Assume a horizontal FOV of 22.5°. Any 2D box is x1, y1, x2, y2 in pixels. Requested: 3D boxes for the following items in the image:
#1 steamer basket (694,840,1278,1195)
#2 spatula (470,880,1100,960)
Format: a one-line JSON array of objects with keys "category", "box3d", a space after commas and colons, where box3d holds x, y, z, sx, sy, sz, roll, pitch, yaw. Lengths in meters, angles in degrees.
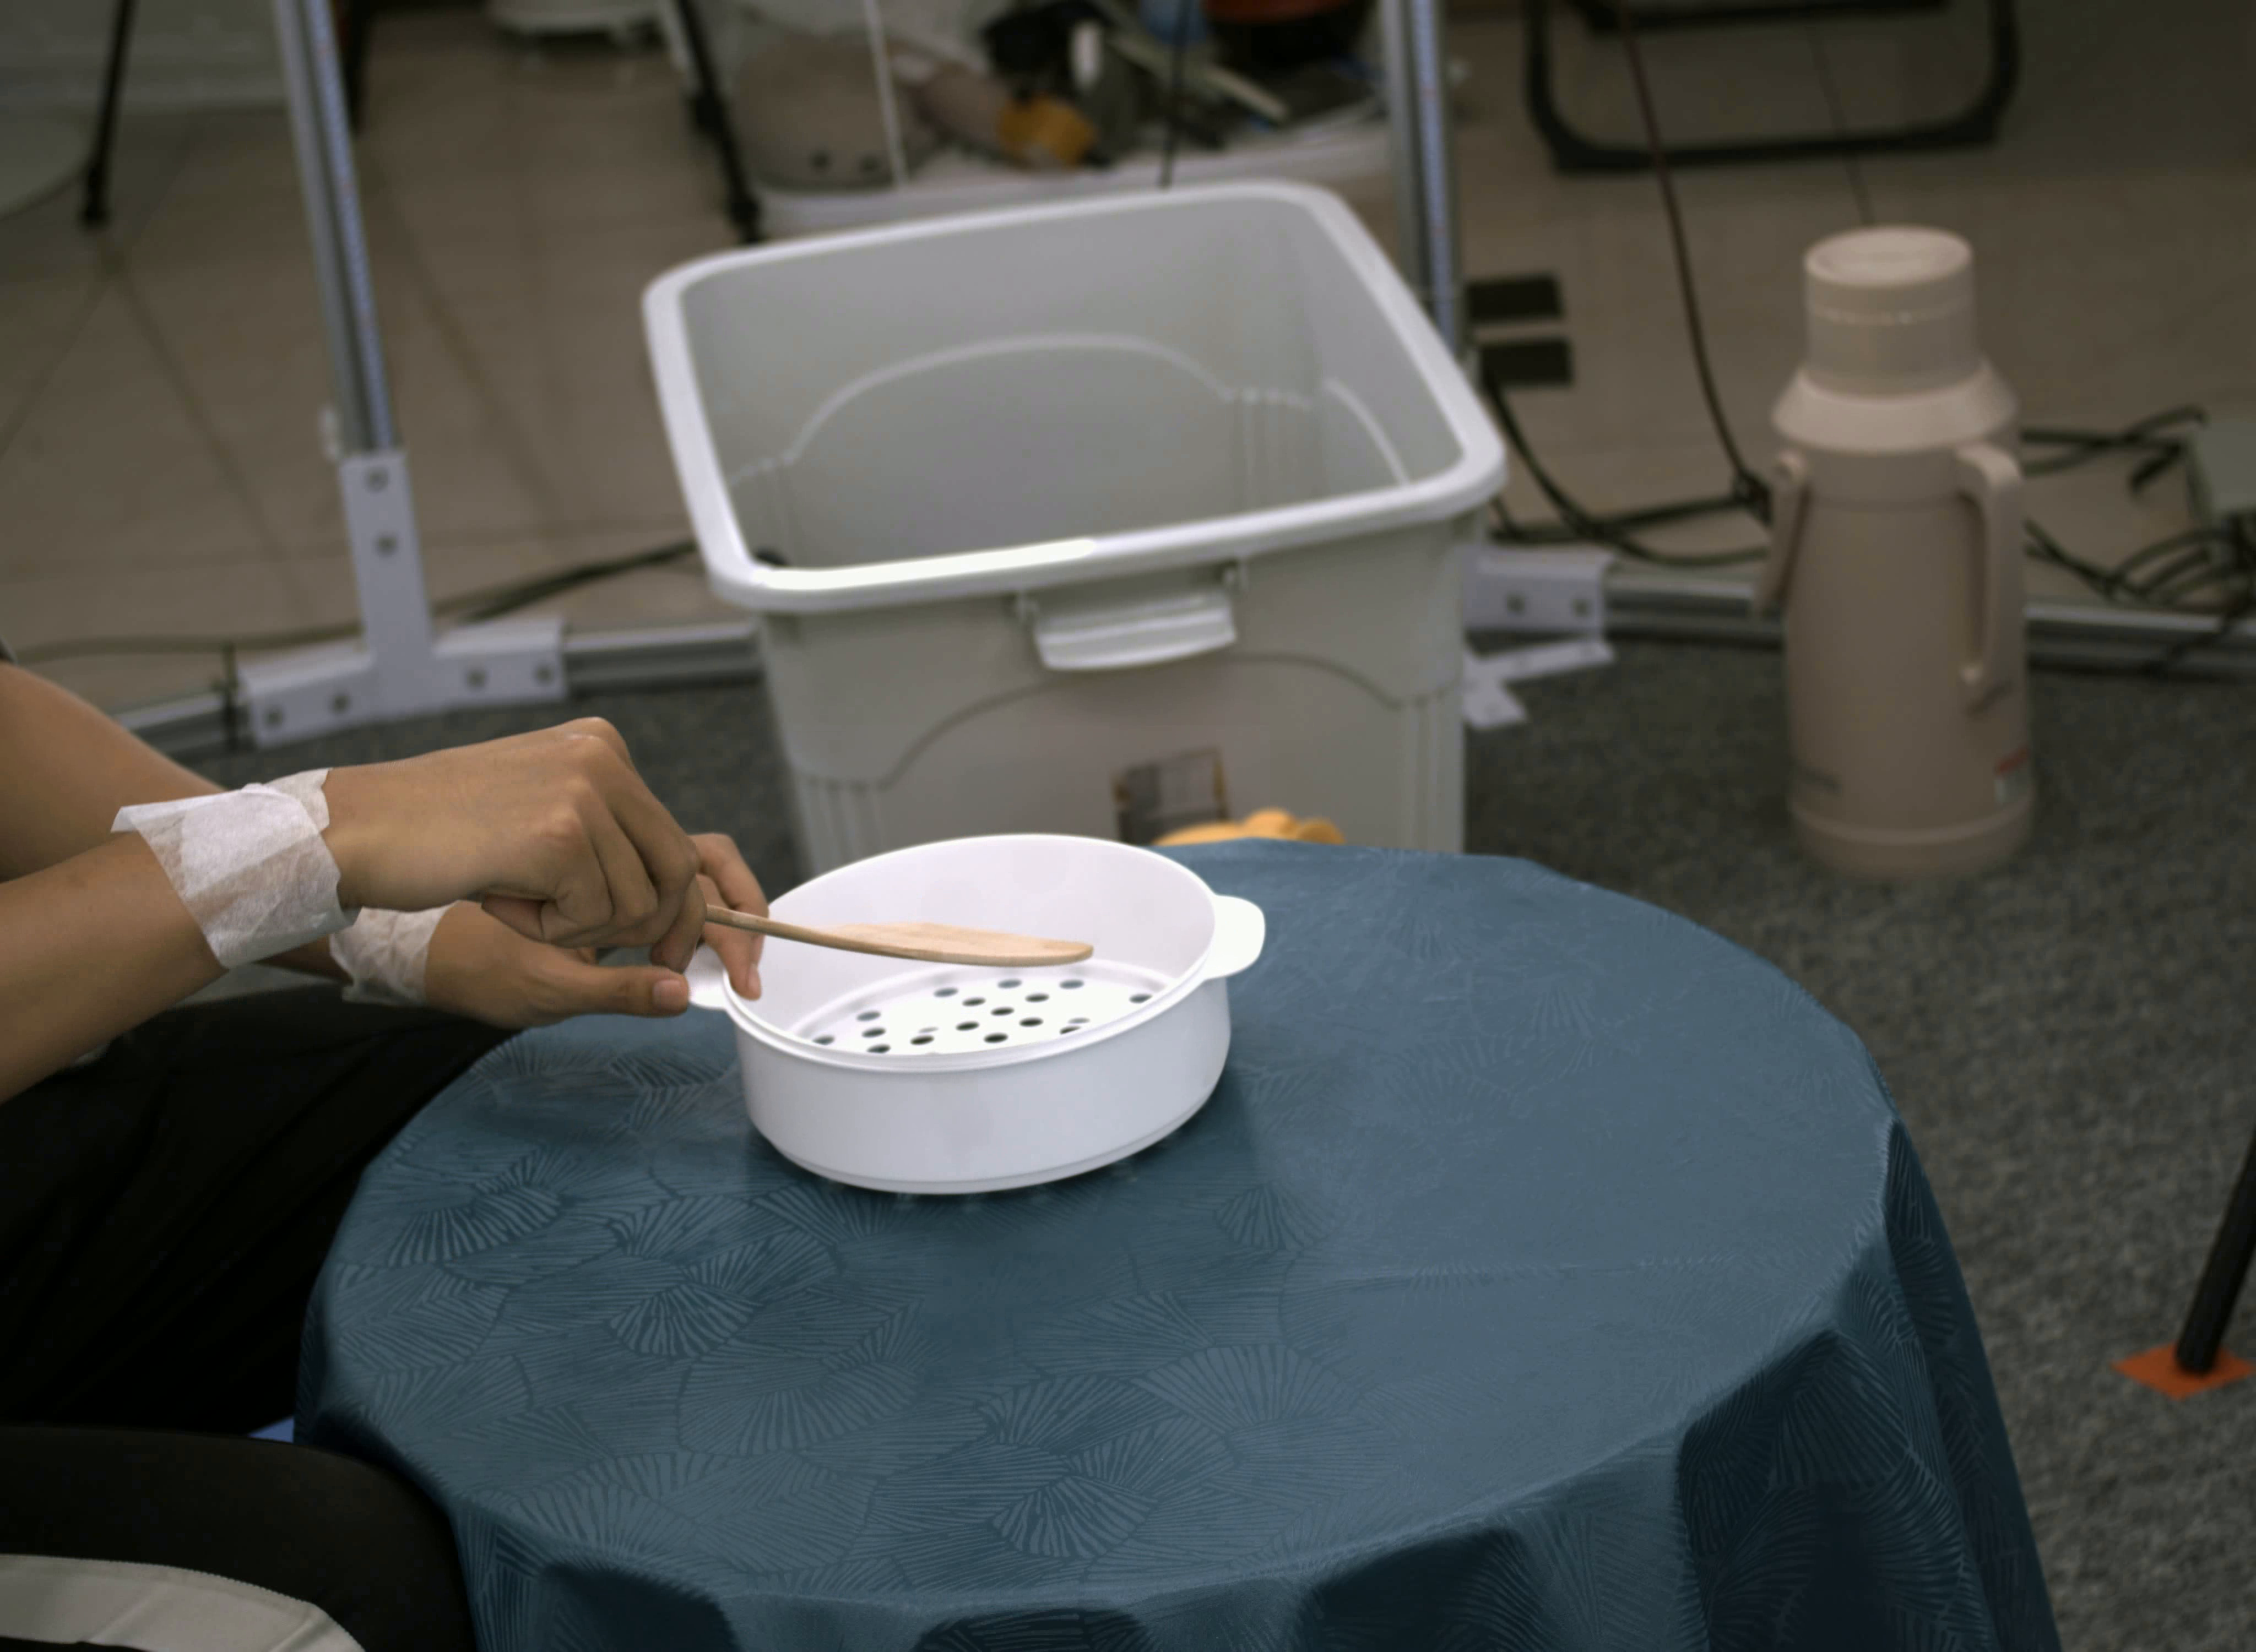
[{"category": "steamer basket", "box3d": [-0.052, 0.075, 2.223, 0.230, 0.070, 0.199, -4, 24, 7]}, {"category": "spatula", "box3d": [-0.127, 0.031, 2.029, 0.079, 0.016, 0.328, 10, 0, 33]}]
